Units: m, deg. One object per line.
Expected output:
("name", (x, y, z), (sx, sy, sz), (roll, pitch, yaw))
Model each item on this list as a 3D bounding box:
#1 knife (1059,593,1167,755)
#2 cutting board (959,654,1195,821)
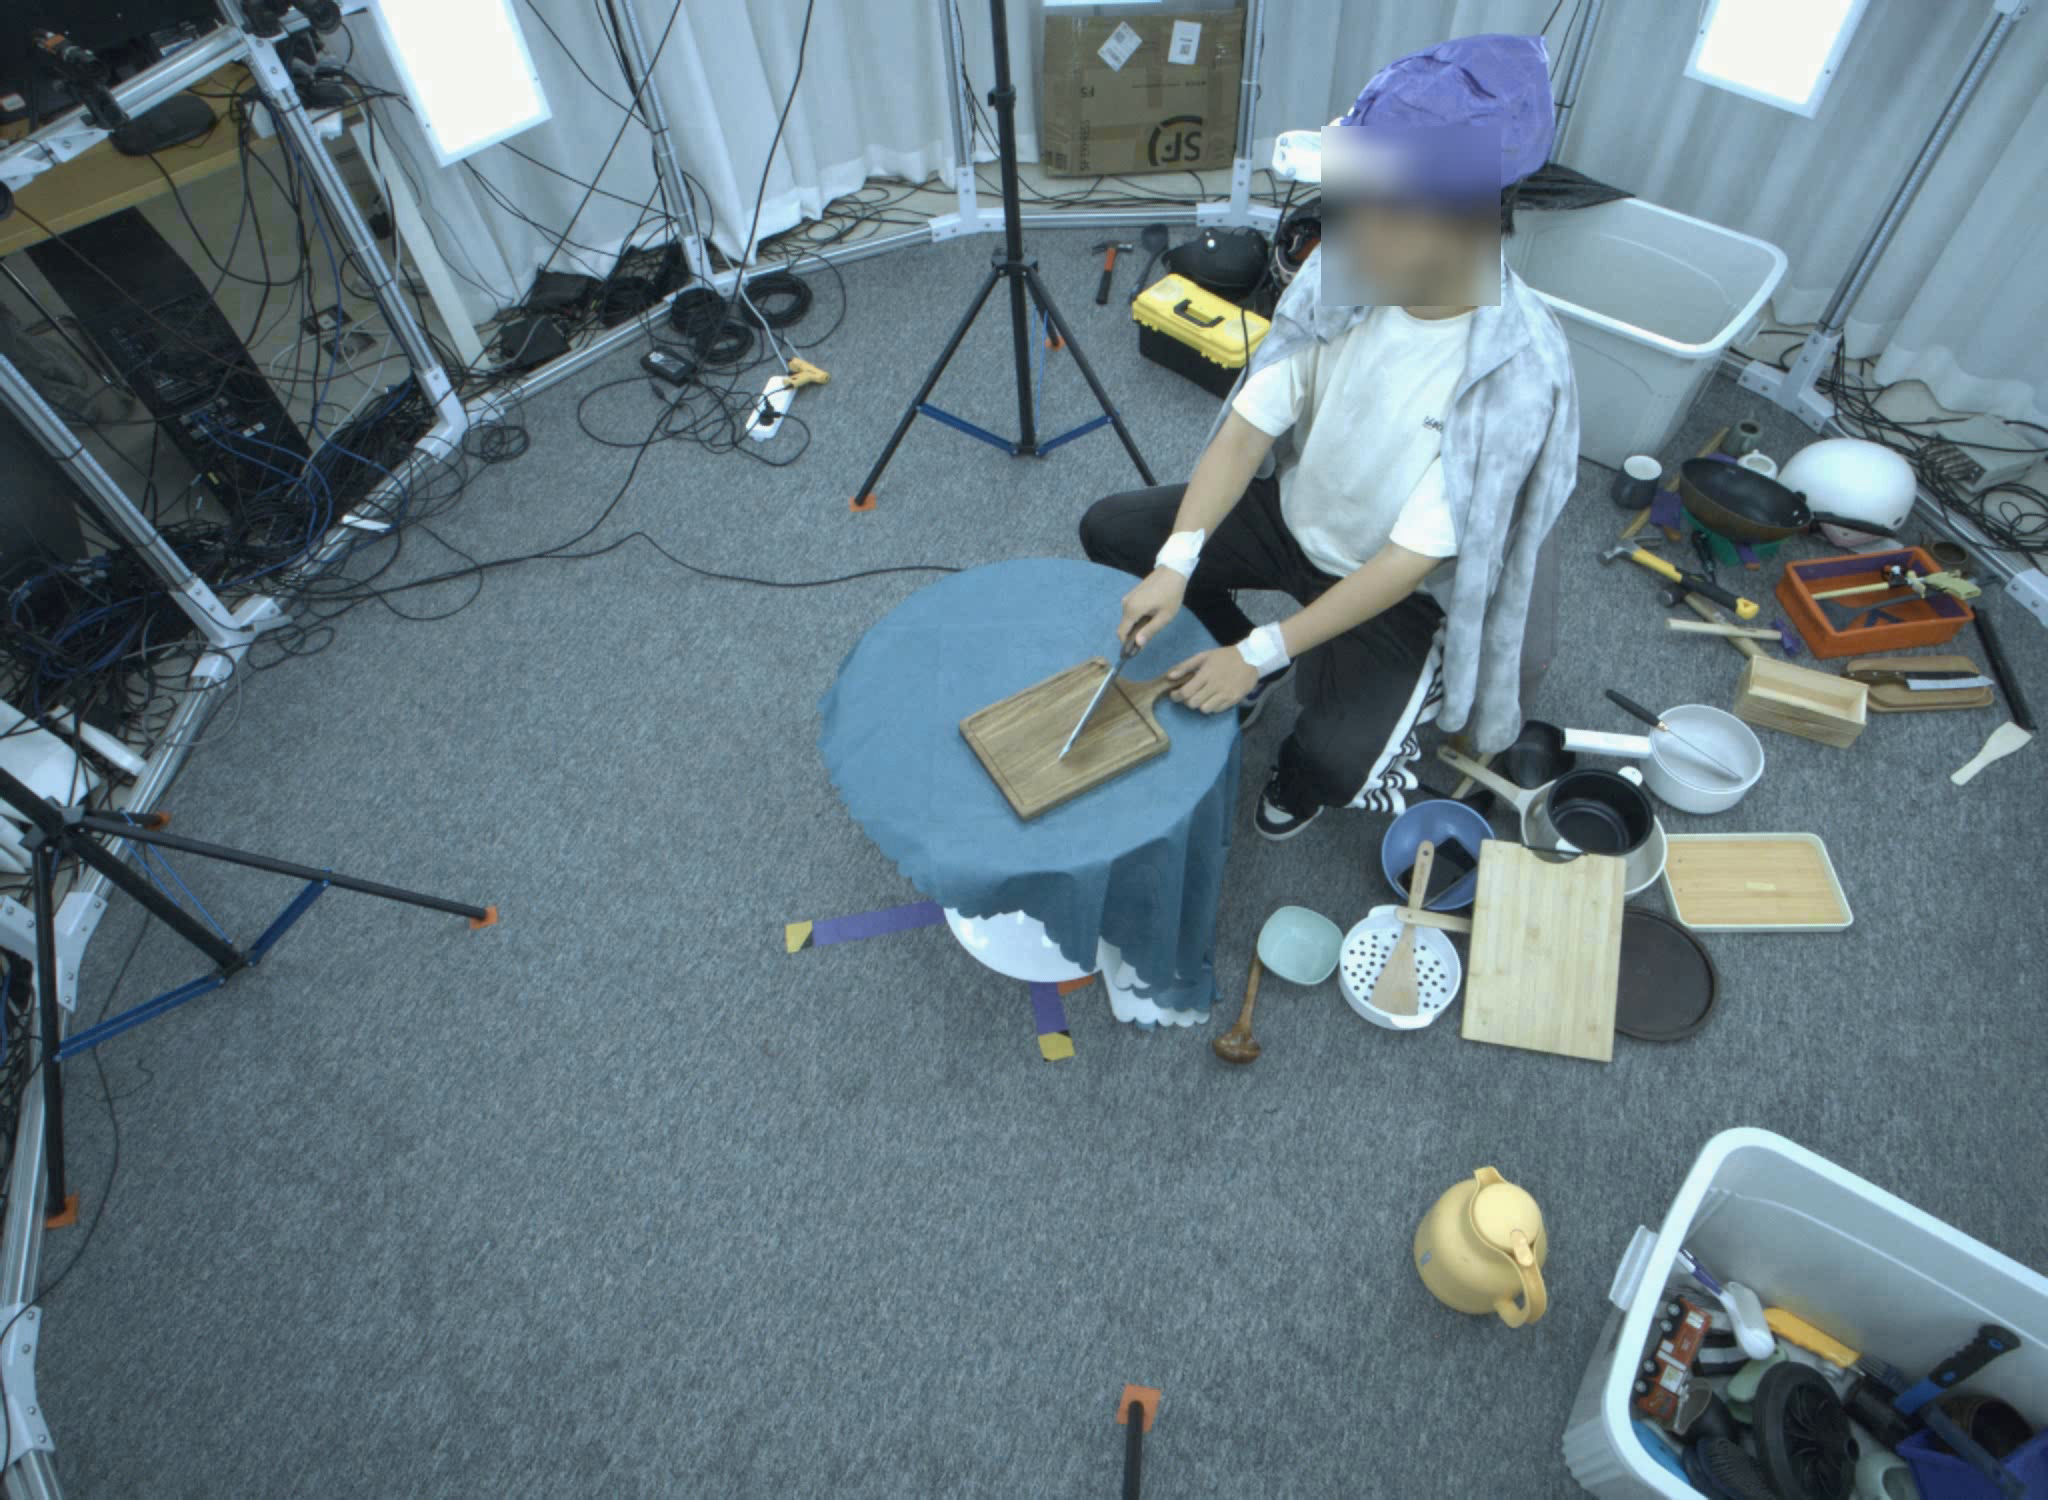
("knife", (0.129, -0.113, 1.802), (0.024, 0.067, 0.300), (36, 64, -8))
("cutting board", (0.102, -0.045, 1.805), (0.355, 0.023, 0.197), (-26, 58, -16))
